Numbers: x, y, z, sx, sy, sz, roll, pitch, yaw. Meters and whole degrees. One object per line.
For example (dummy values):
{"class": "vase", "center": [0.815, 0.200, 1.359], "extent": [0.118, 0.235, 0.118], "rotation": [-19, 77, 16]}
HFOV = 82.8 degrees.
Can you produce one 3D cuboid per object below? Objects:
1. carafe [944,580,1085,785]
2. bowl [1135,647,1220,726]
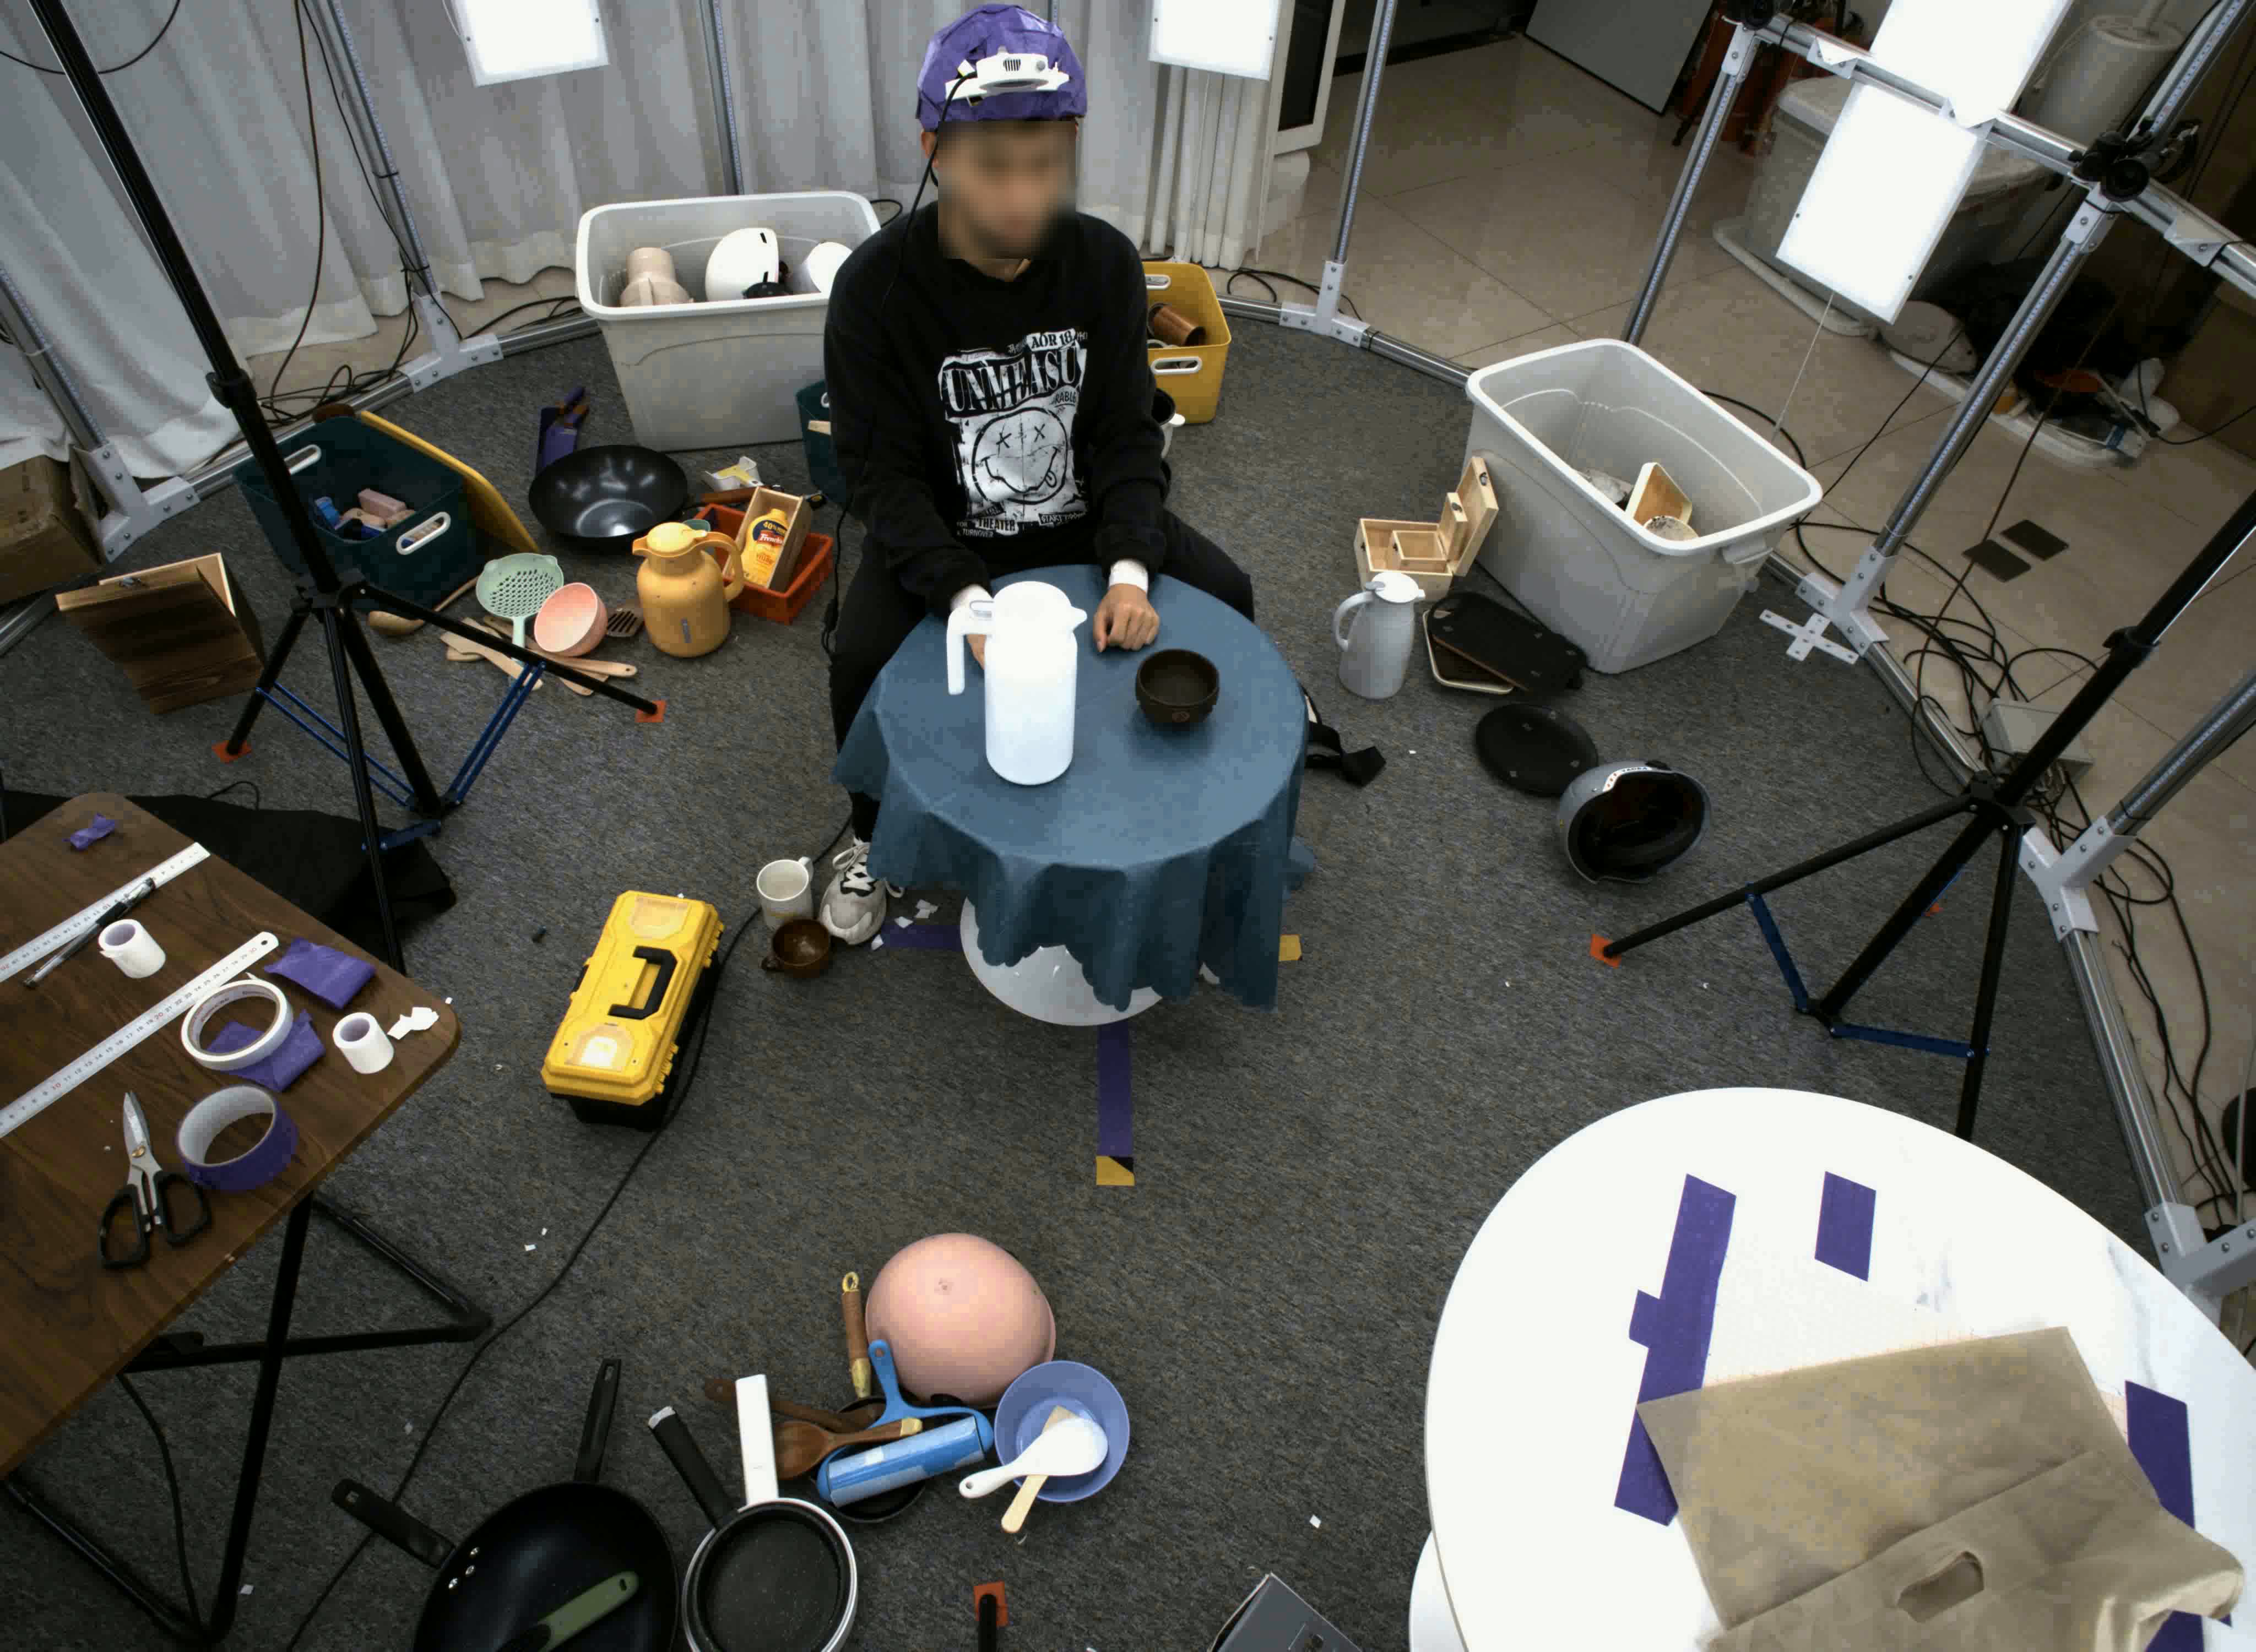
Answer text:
{"class": "carafe", "center": [-0.144, -0.179, 1.644], "extent": [0.172, 0.262, 0.127], "rotation": [1, 51, -3]}
{"class": "bowl", "center": [0.068, -0.186, 1.787], "extent": [0.118, 0.068, 0.121], "rotation": [1, 49, -2]}
